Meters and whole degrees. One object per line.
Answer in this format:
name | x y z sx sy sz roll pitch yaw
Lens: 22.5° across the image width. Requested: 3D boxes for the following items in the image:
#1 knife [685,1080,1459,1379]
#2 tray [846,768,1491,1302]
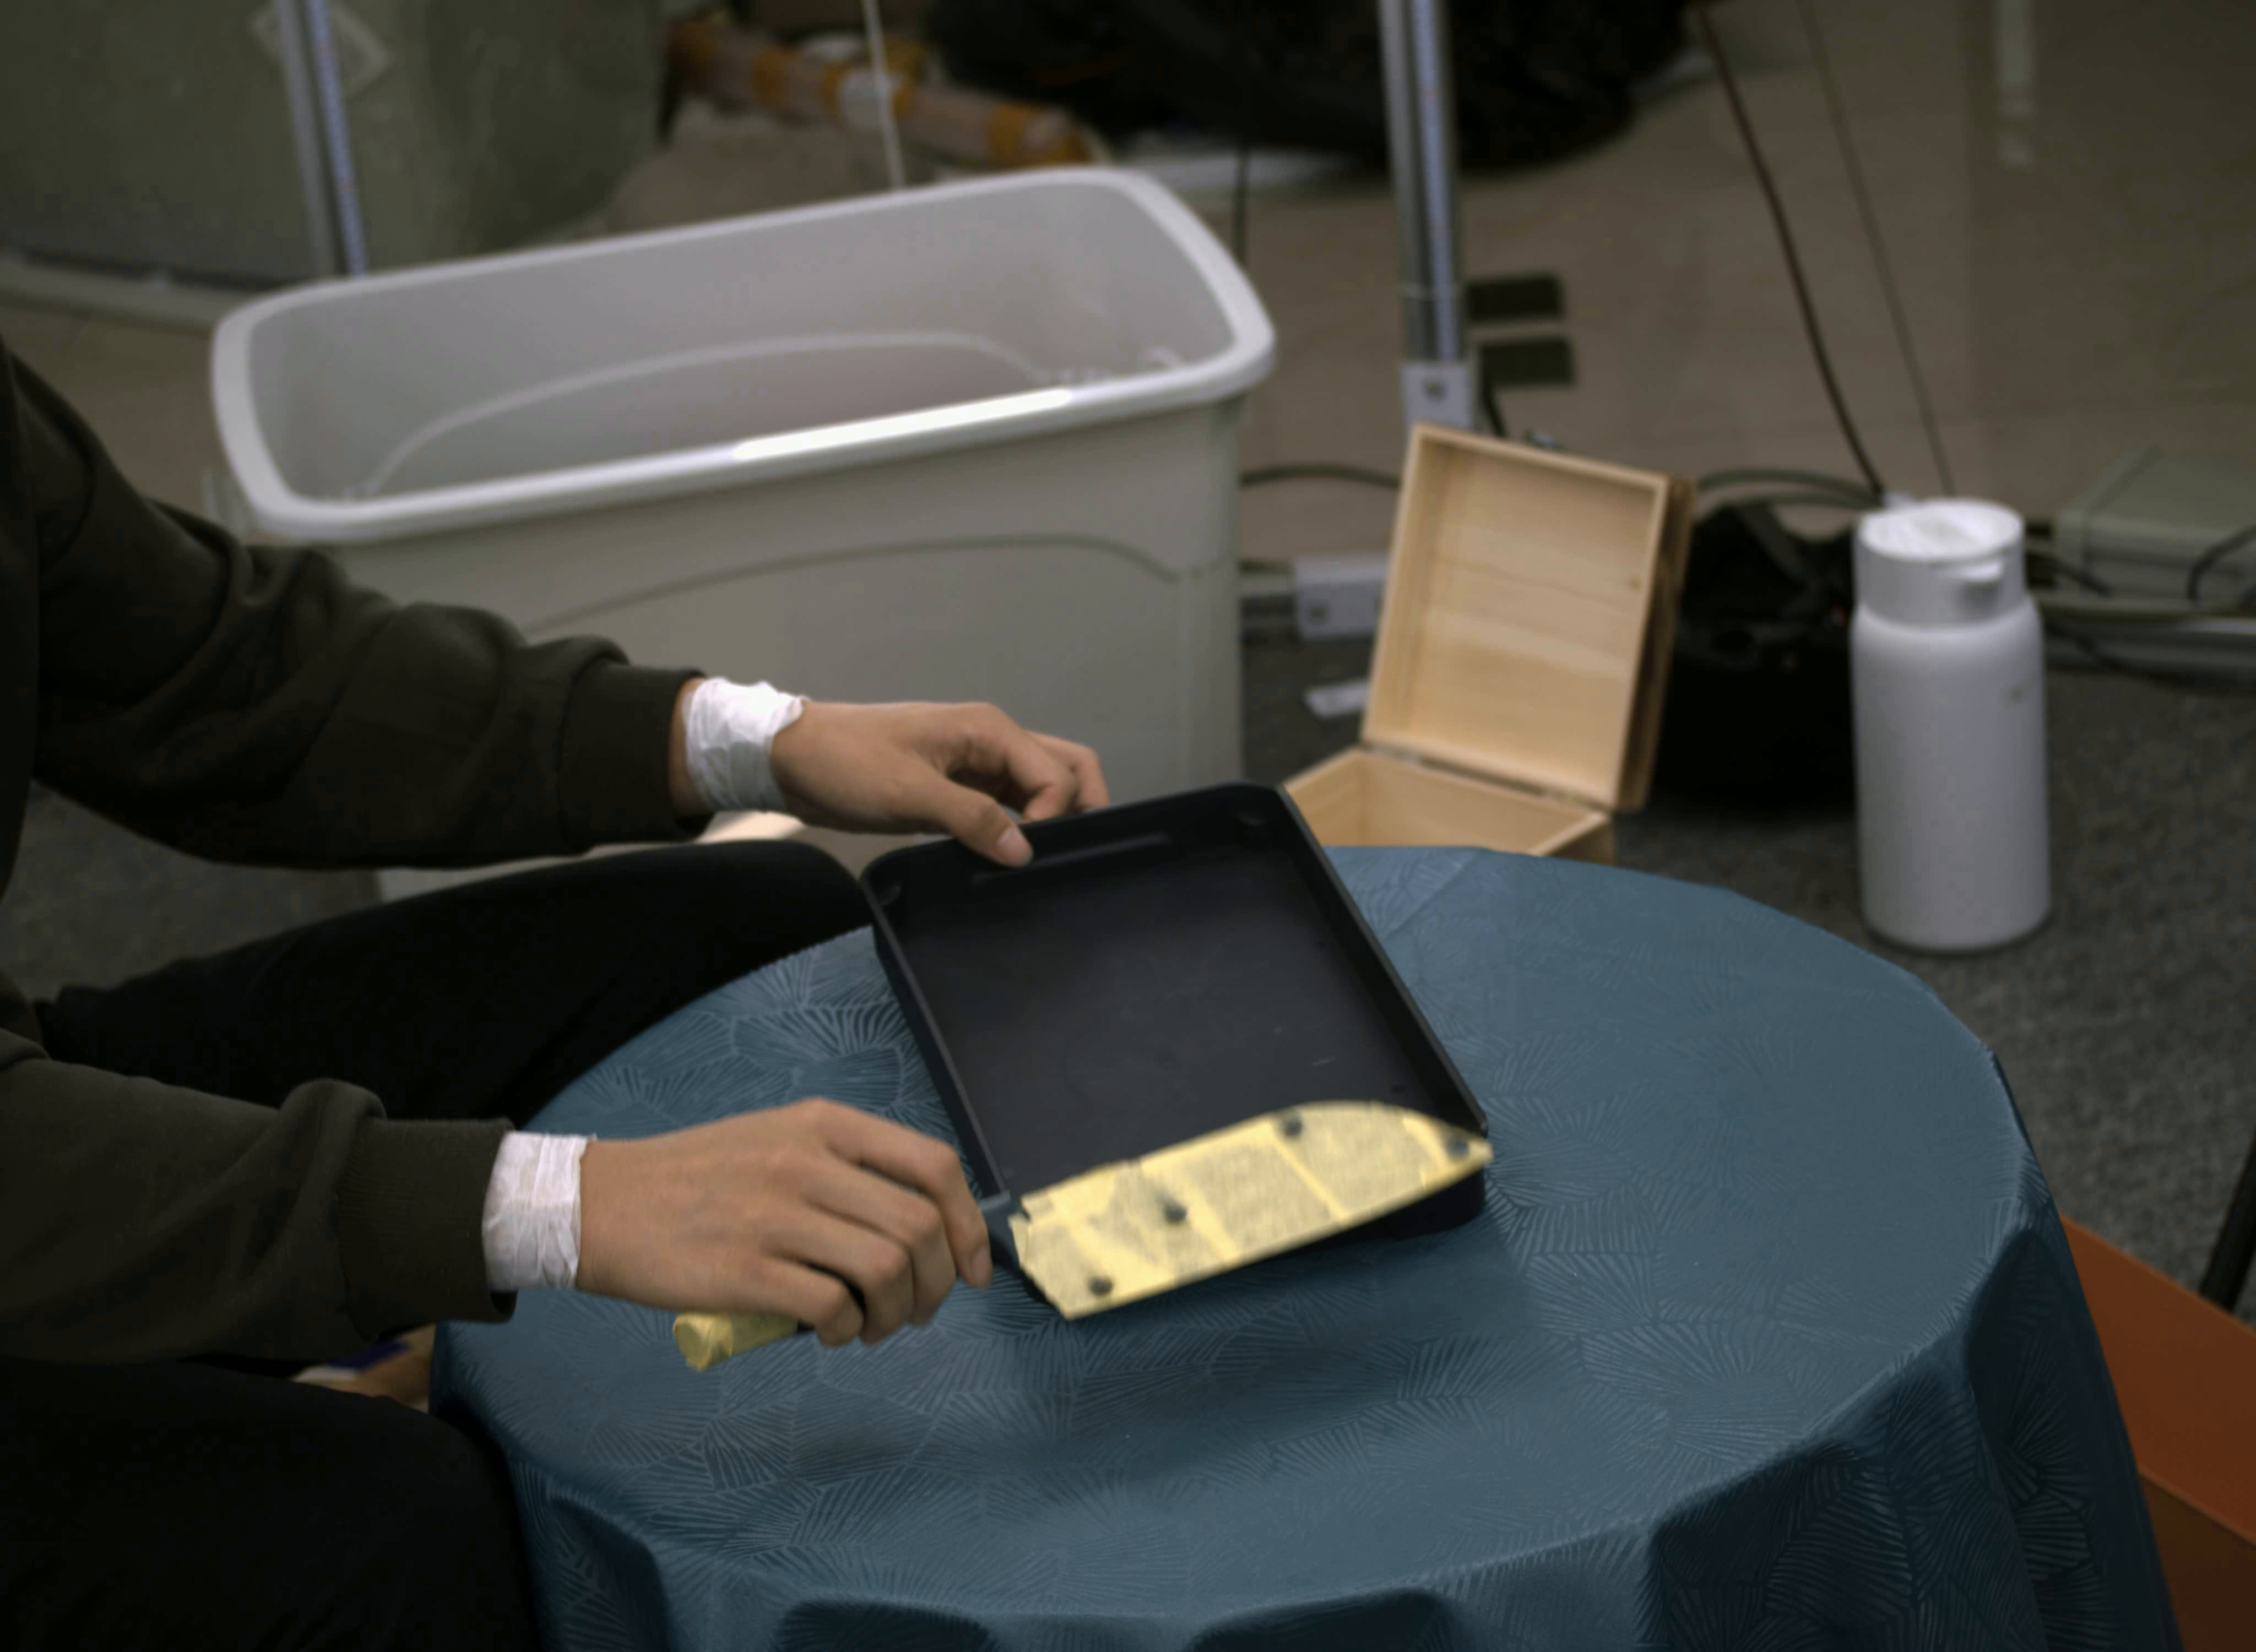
knife | -0.015 0.141 1.982 0.288 0.028 0.080 -18 31 -15
tray | 0.011 0.076 2.215 0.184 0.037 0.313 -13 30 -11
